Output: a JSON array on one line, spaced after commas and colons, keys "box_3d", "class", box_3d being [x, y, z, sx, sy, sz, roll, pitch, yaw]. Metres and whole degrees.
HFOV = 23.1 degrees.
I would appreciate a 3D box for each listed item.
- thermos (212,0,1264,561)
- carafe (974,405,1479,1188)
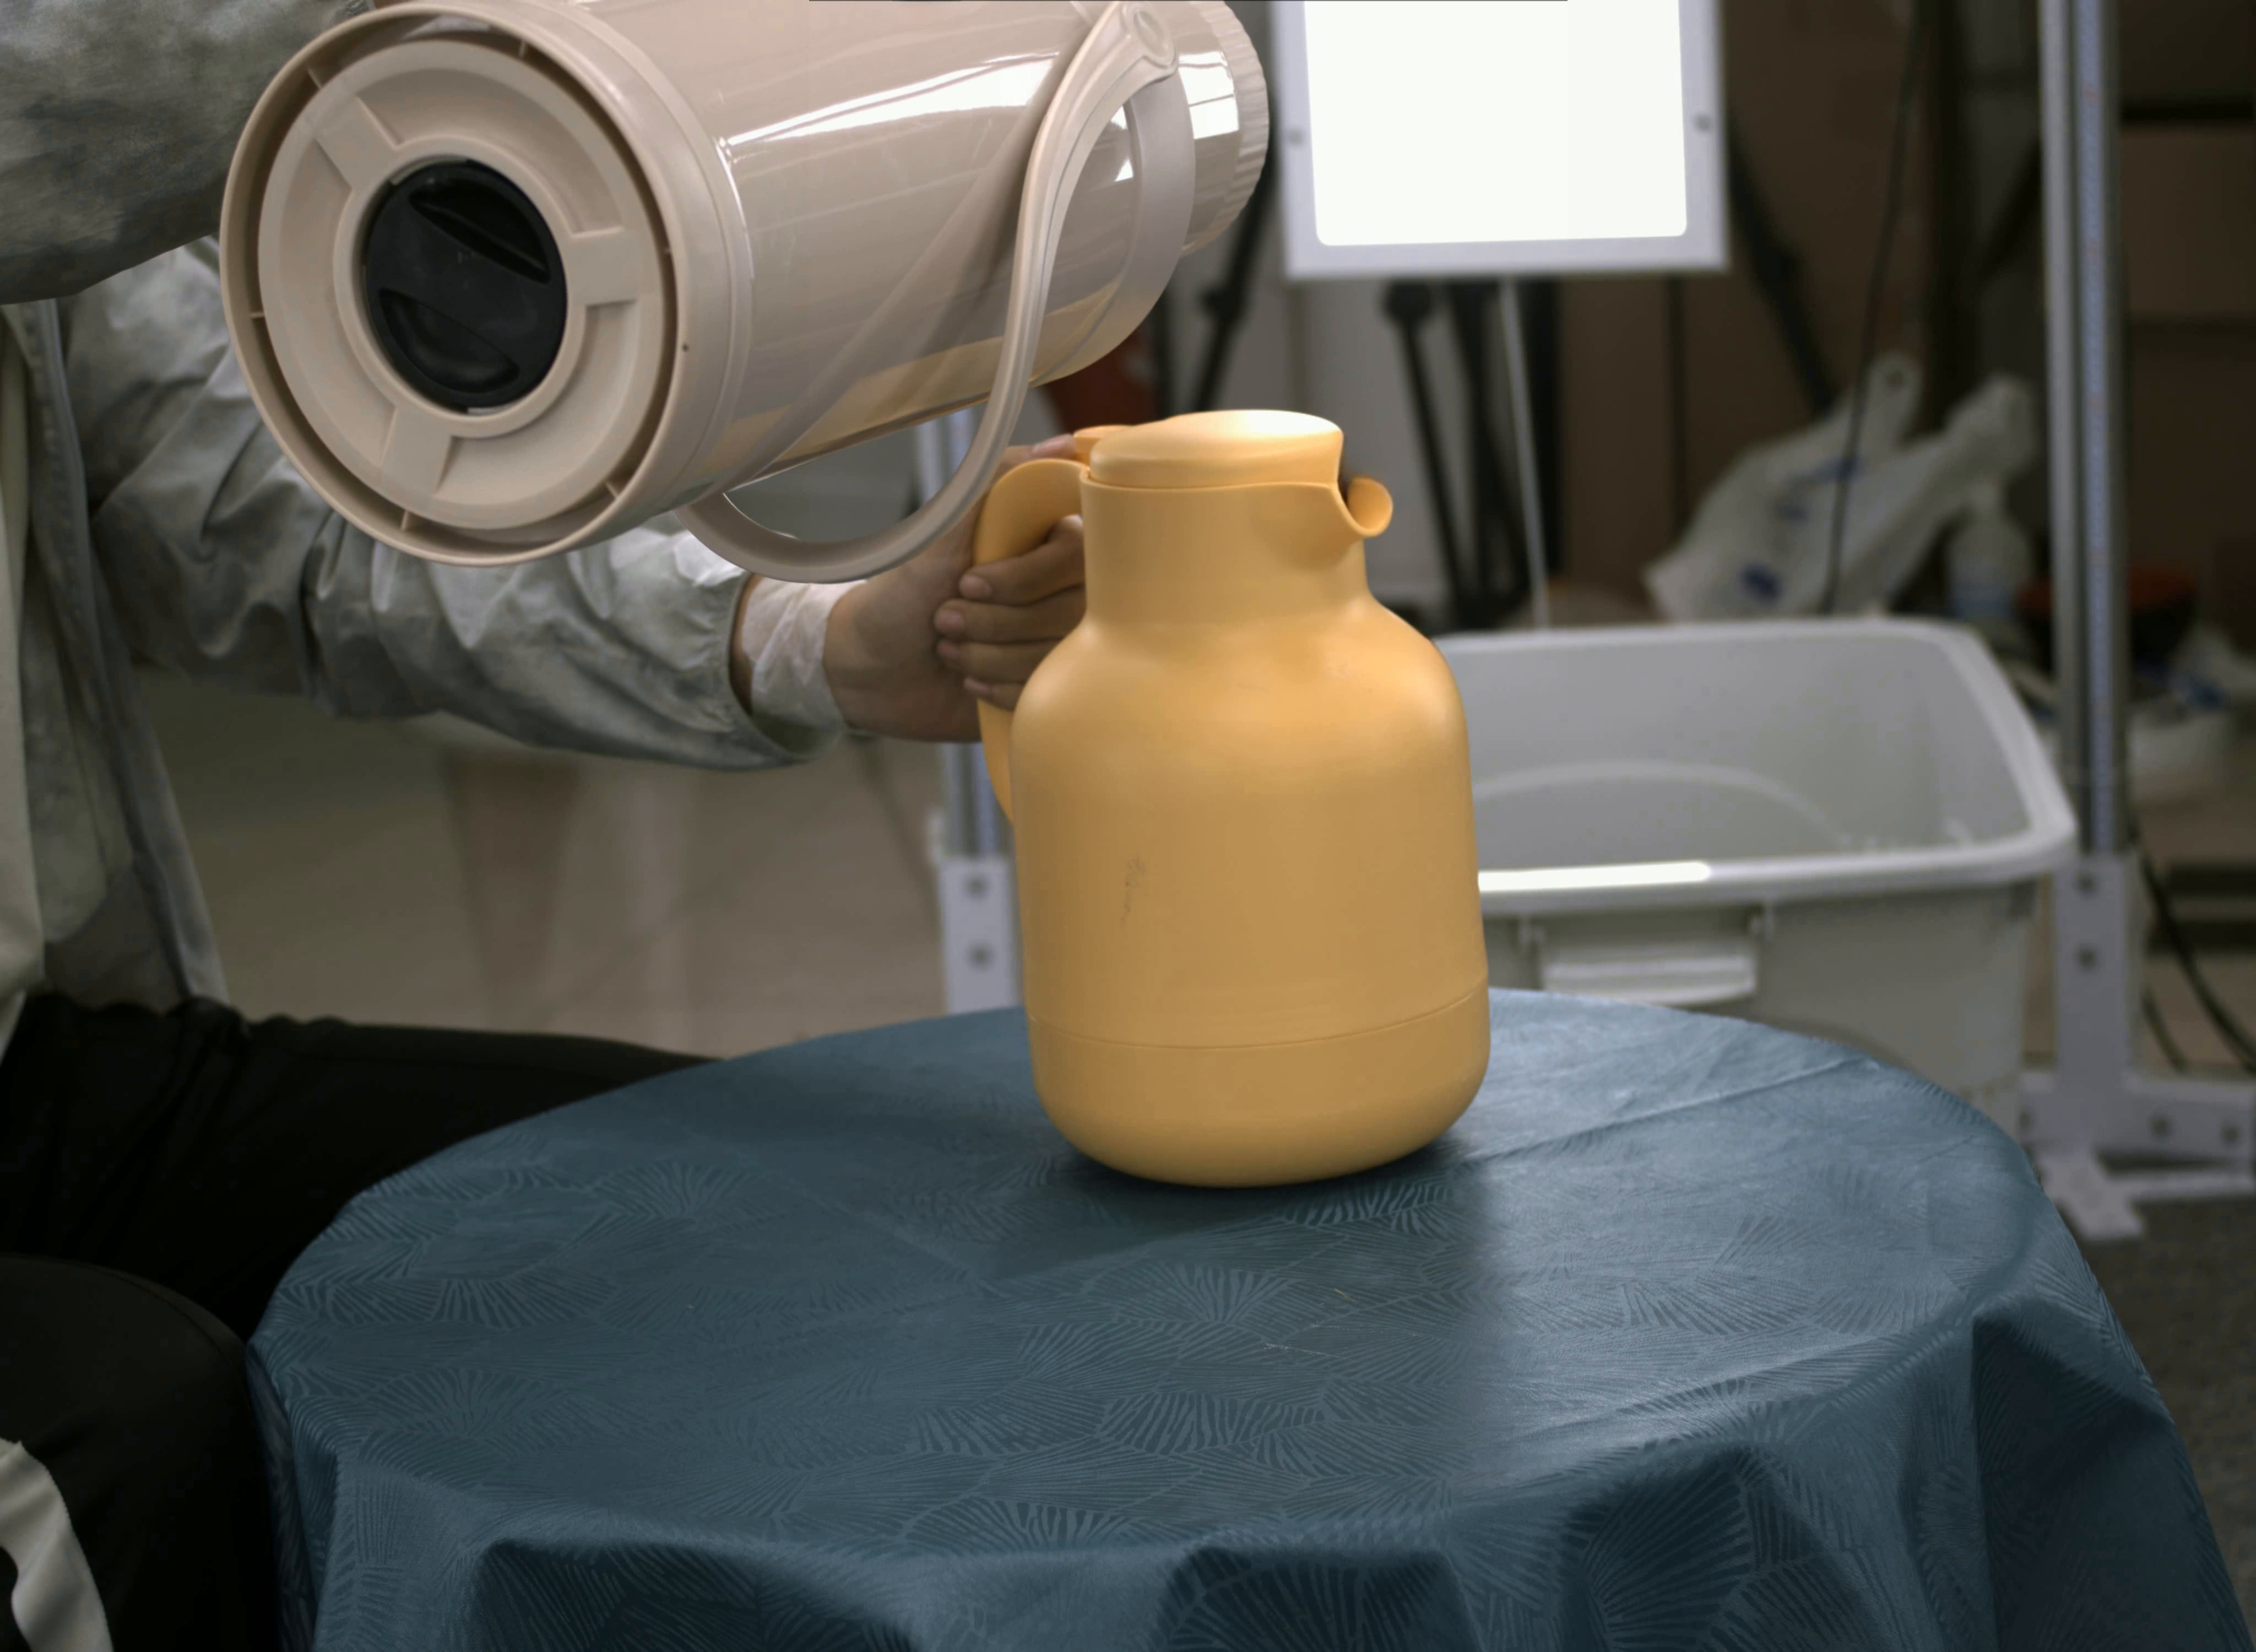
[{"box_3d": [-0.104, -0.208, 1.690, 0.179, 0.207, 0.397, -28, -1, 35], "class": "thermos"}, {"box_3d": [0.026, -0.017, 1.924, 0.159, 0.261, 0.207, -13, 17, -39], "class": "carafe"}]
